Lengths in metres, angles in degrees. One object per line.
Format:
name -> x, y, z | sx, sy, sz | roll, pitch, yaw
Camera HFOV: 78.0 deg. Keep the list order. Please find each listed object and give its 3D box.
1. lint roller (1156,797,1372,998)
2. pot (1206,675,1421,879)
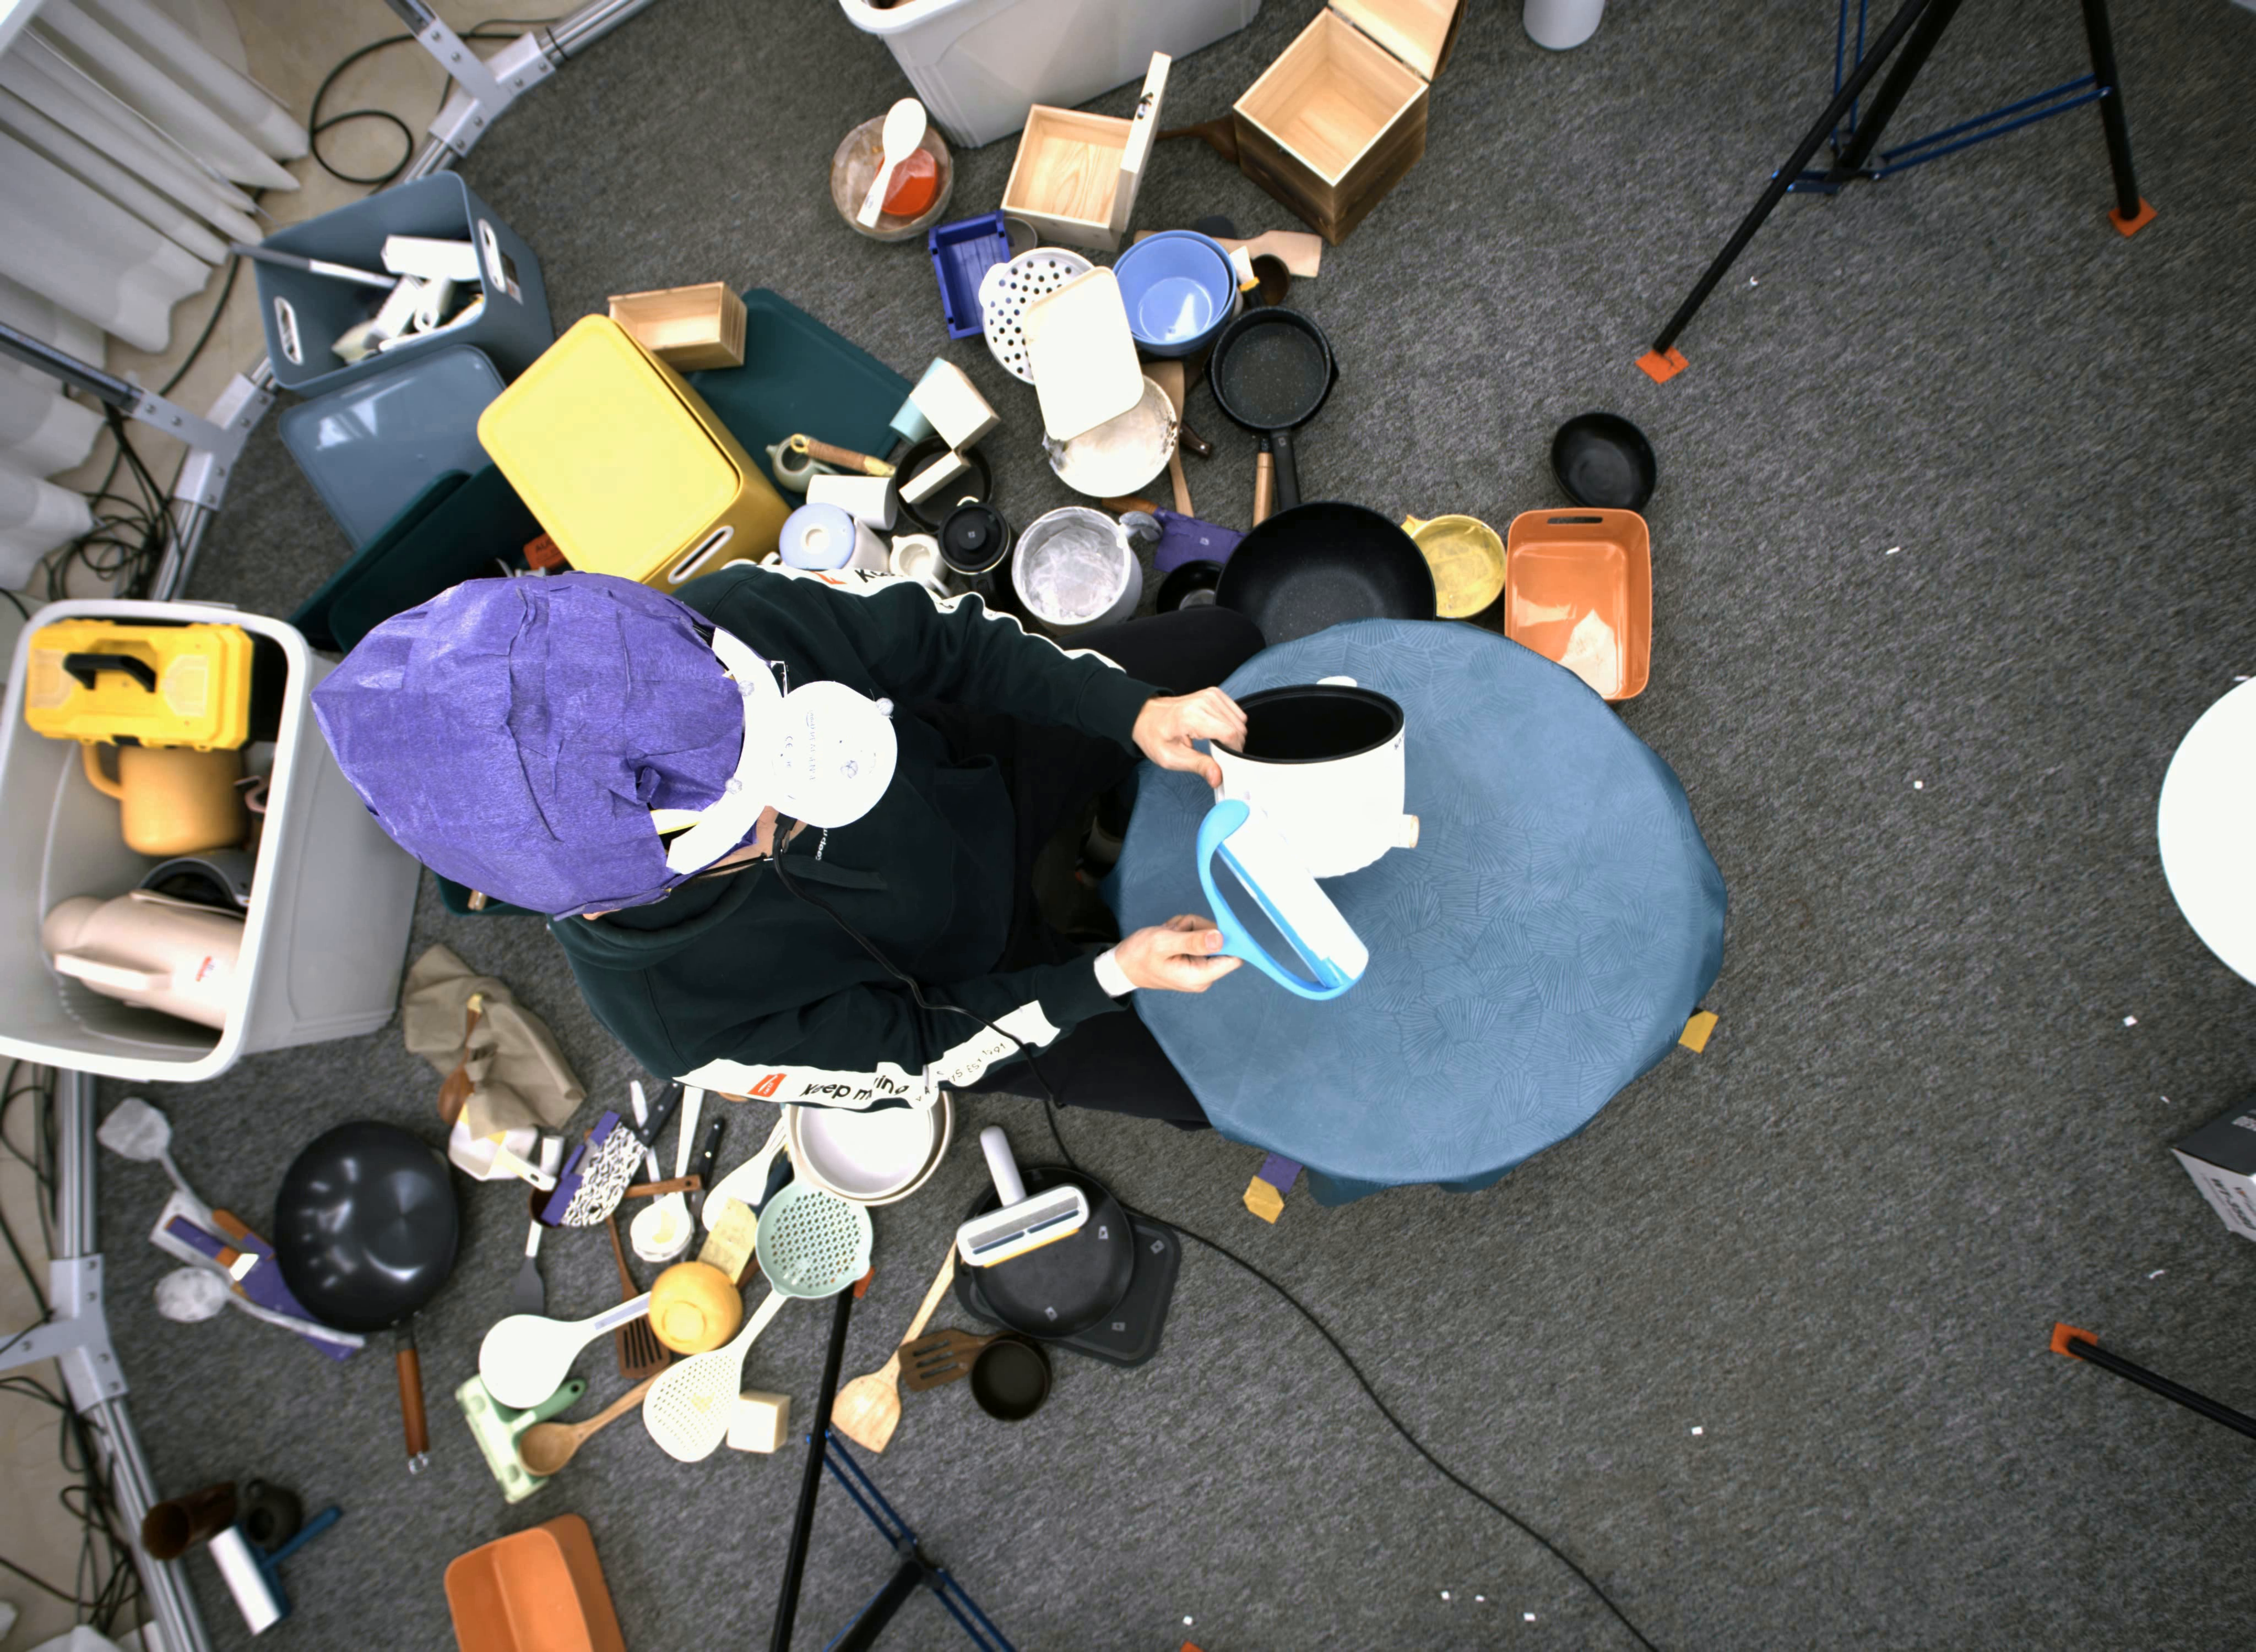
lint roller -> 0.099, 0.088, 1.262 | 0.183, 0.066, 0.231 | -29, 119, 28
pot -> 0.175, -0.040, 1.293 | 0.191, 0.234, 0.145 | 3, 121, 25
